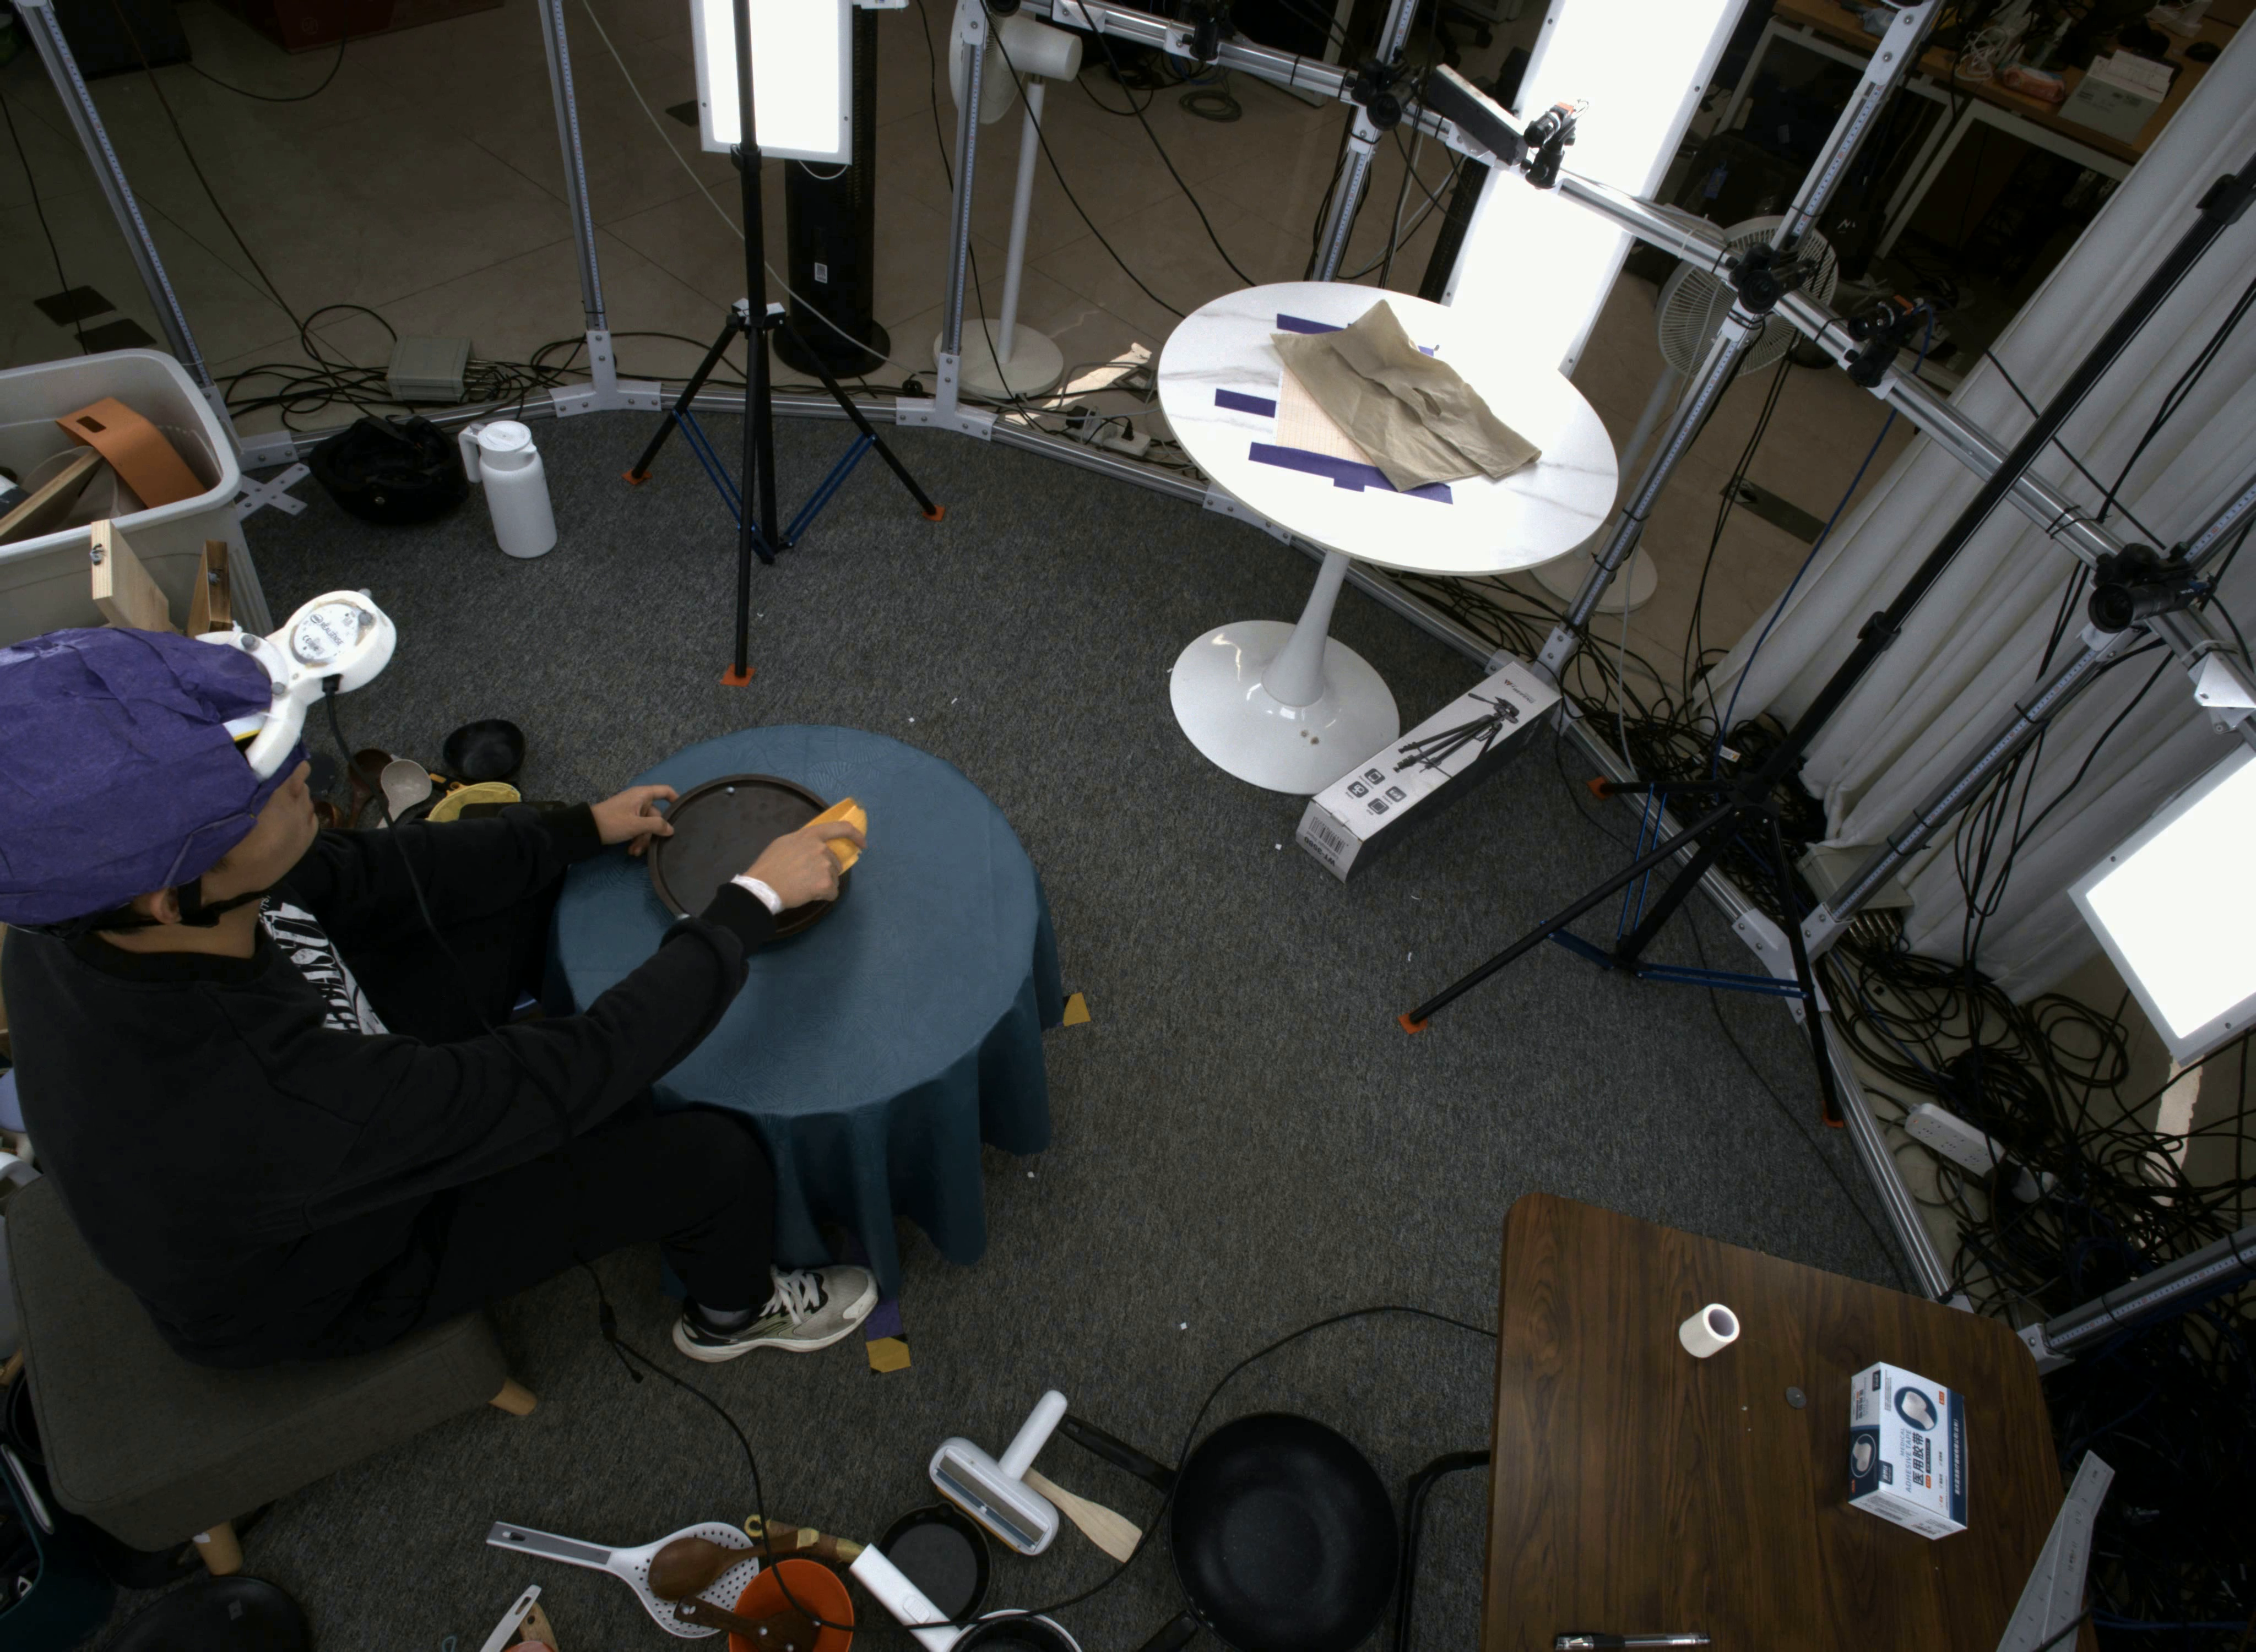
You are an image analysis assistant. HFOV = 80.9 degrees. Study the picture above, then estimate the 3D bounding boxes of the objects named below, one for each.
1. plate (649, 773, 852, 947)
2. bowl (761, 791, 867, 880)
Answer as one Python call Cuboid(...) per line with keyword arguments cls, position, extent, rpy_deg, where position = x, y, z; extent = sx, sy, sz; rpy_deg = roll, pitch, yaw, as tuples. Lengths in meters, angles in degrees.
Cuboid(cls="plate", position=(-0.482, 0.041, 1.655), extent=(0.256, 0.029, 0.251), rpy_deg=(10, 58, -14))
Cuboid(cls="bowl", position=(-0.369, 0.021, 1.576), extent=(0.145, 0.142, 0.061), rpy_deg=(-44, 109, -36))
